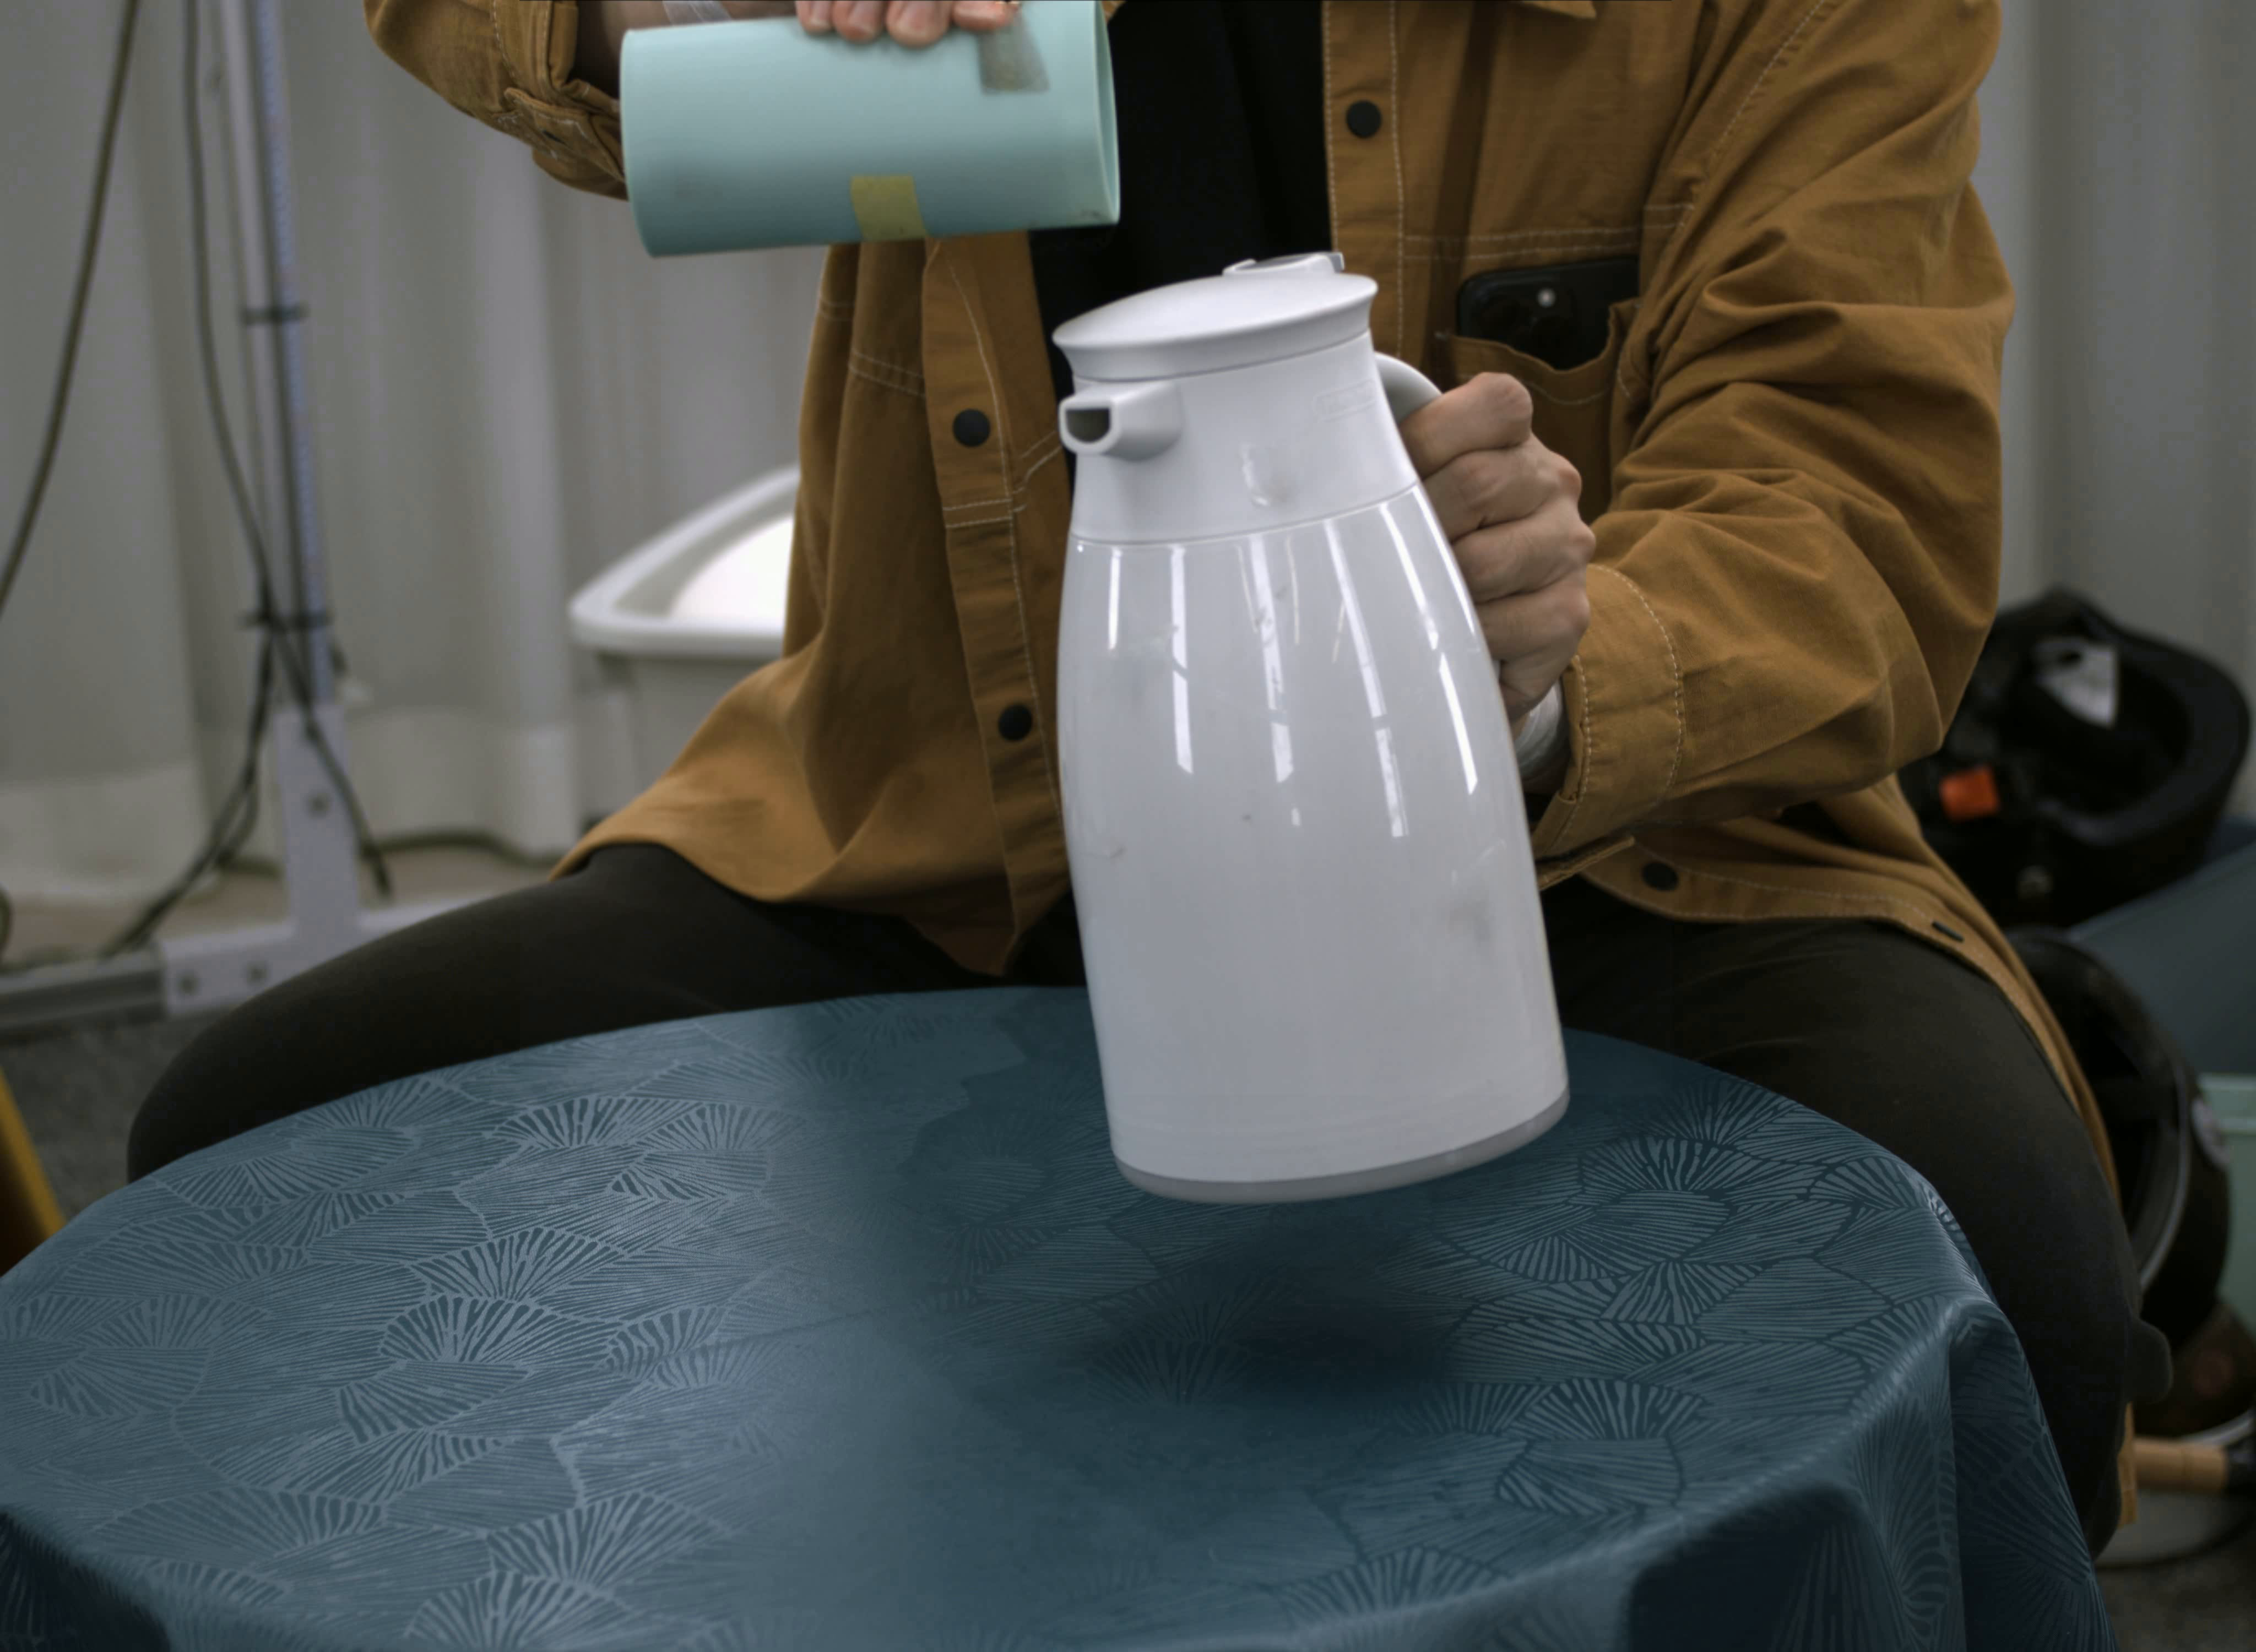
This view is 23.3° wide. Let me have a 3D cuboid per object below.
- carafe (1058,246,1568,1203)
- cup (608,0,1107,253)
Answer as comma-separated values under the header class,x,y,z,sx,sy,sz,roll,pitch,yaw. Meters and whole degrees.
class,x,y,z,sx,sy,sz,roll,pitch,yaw
carafe,0.053,-0.037,1.554,0.133,0.248,0.167,0,13,38
cup,-0.073,-0.196,1.514,0.132,0.066,0.067,-4,14,4
